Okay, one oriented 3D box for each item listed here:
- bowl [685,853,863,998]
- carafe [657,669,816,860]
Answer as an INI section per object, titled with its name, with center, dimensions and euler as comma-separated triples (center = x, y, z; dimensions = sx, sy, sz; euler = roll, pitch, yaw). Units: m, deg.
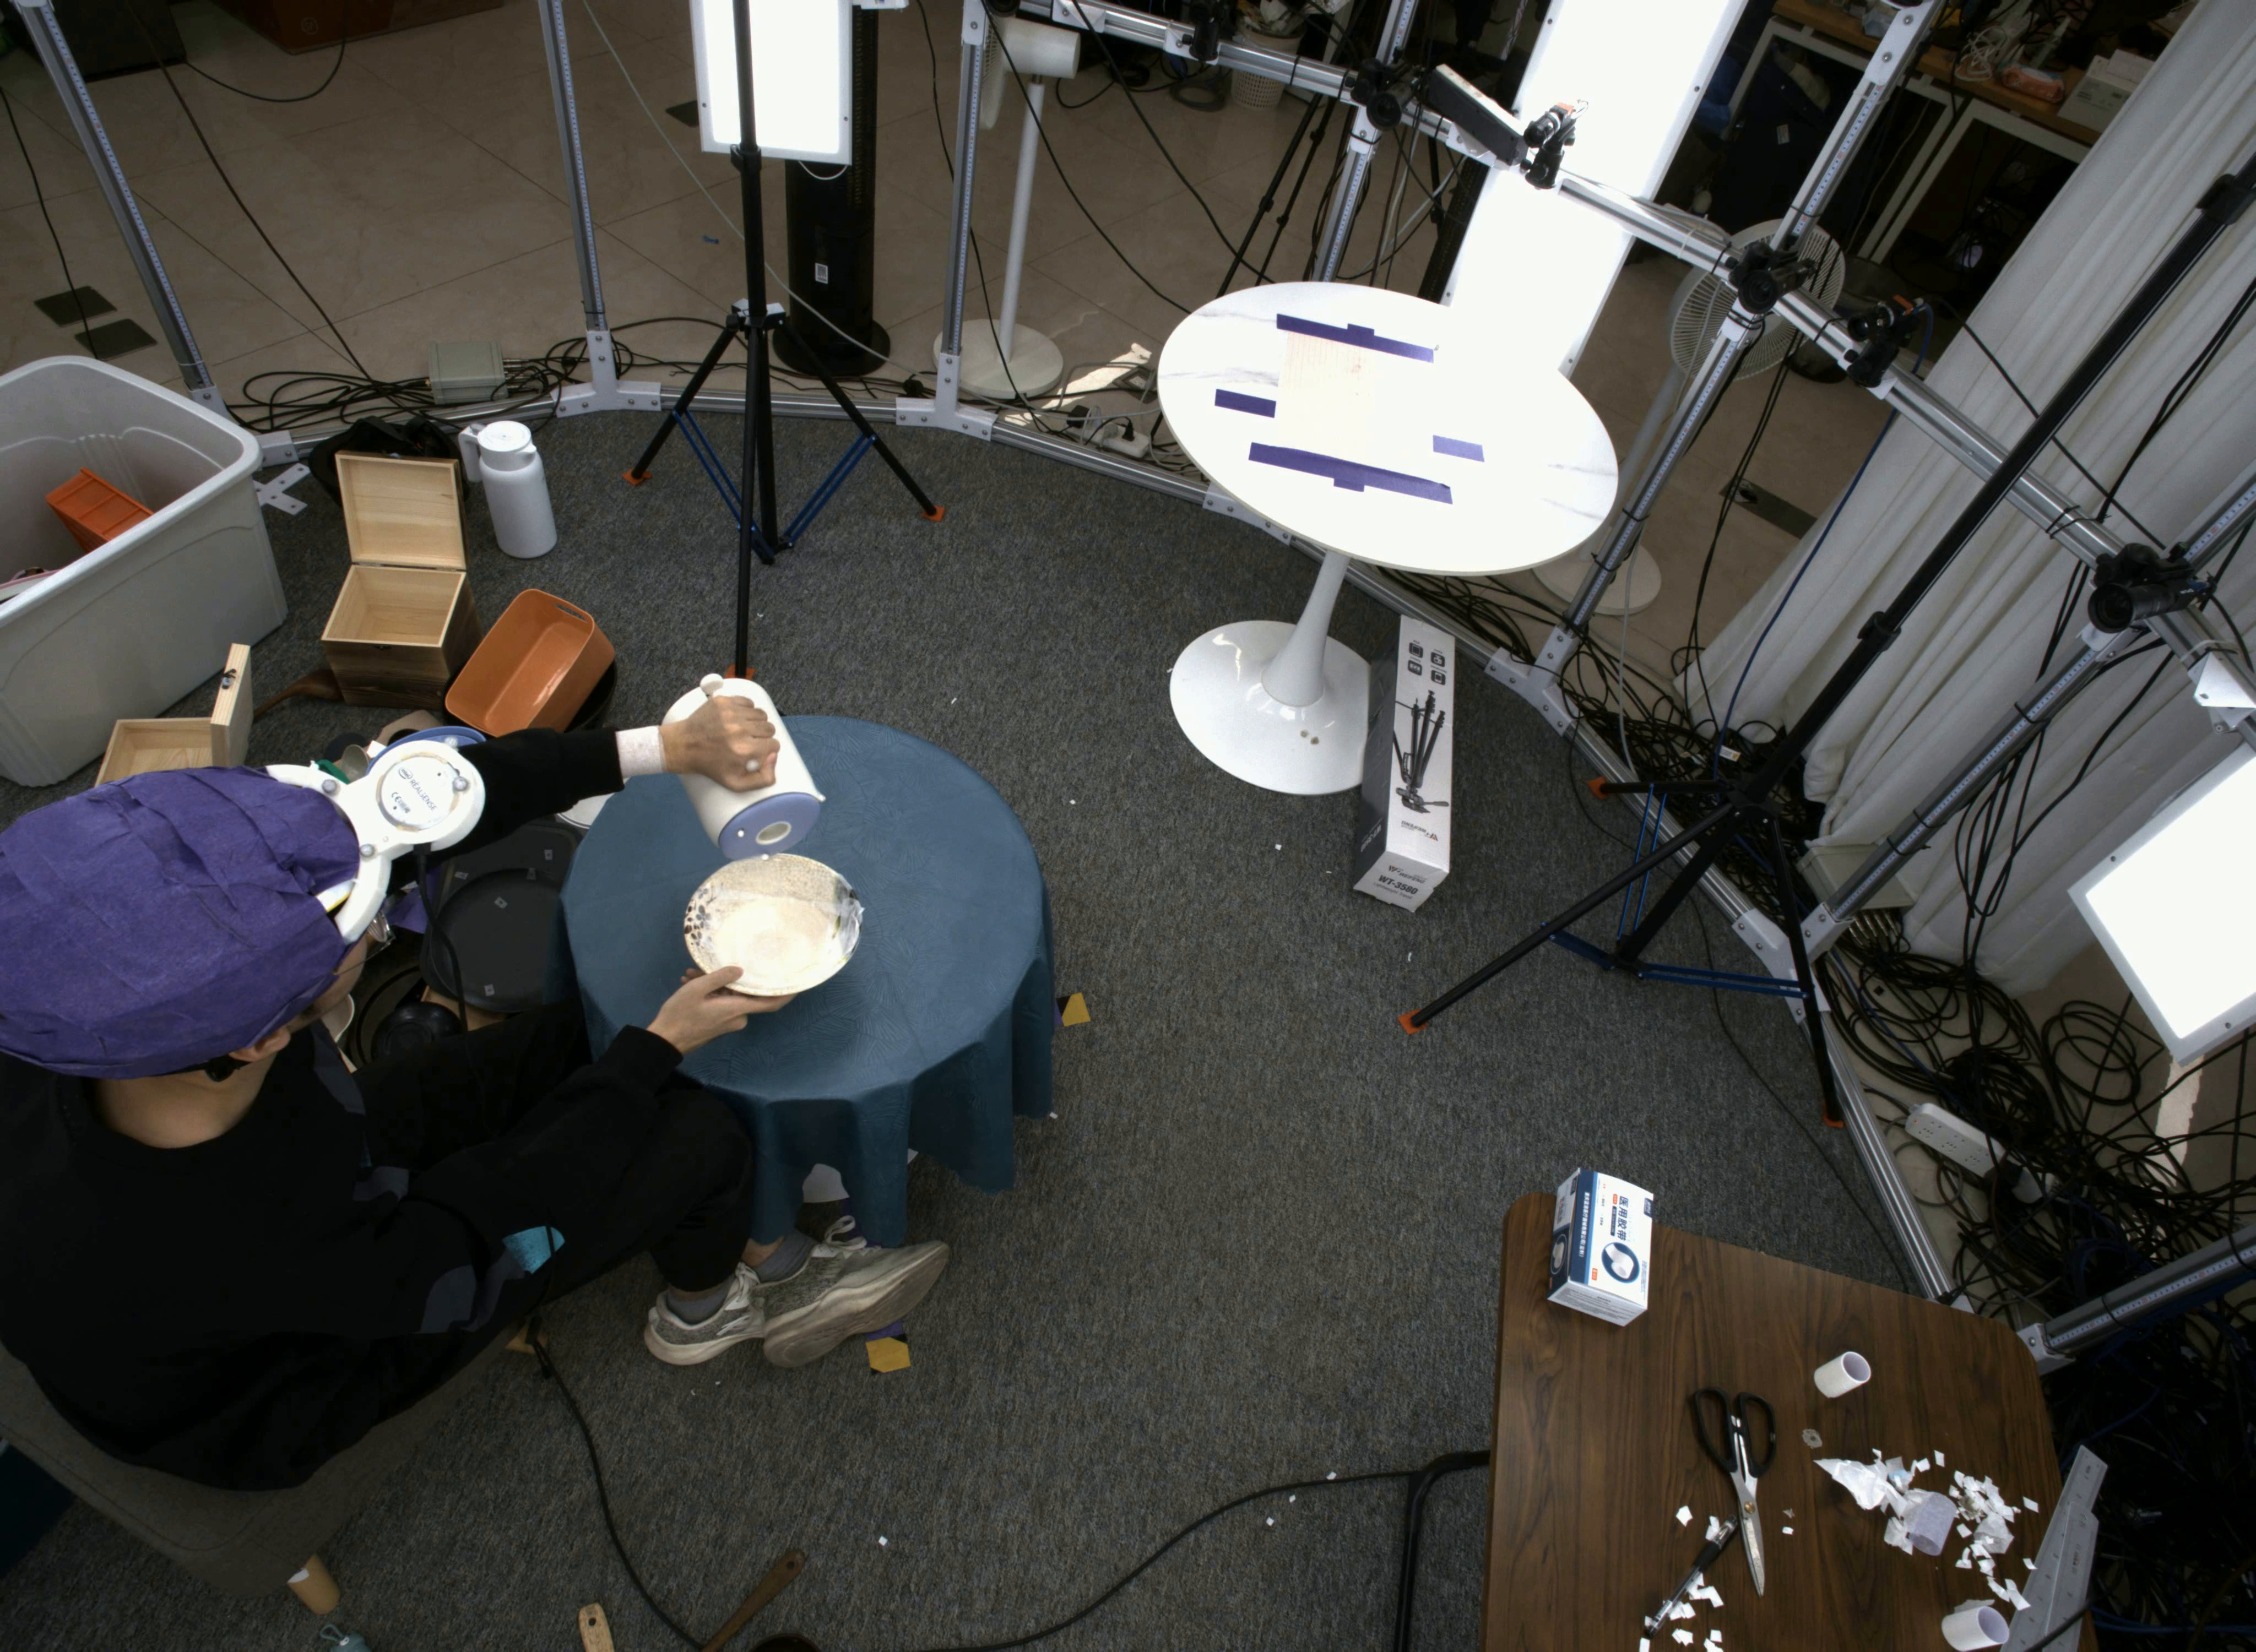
[bowl]
center = -0.415, 0.133, 1.536
dimensions = 0.203, 0.080, 0.200
euler = 6, 52, -6
[carafe]
center = -0.438, -0.080, 1.431
dimensions = 0.132, 0.195, 0.178
euler = -26, 66, -20
